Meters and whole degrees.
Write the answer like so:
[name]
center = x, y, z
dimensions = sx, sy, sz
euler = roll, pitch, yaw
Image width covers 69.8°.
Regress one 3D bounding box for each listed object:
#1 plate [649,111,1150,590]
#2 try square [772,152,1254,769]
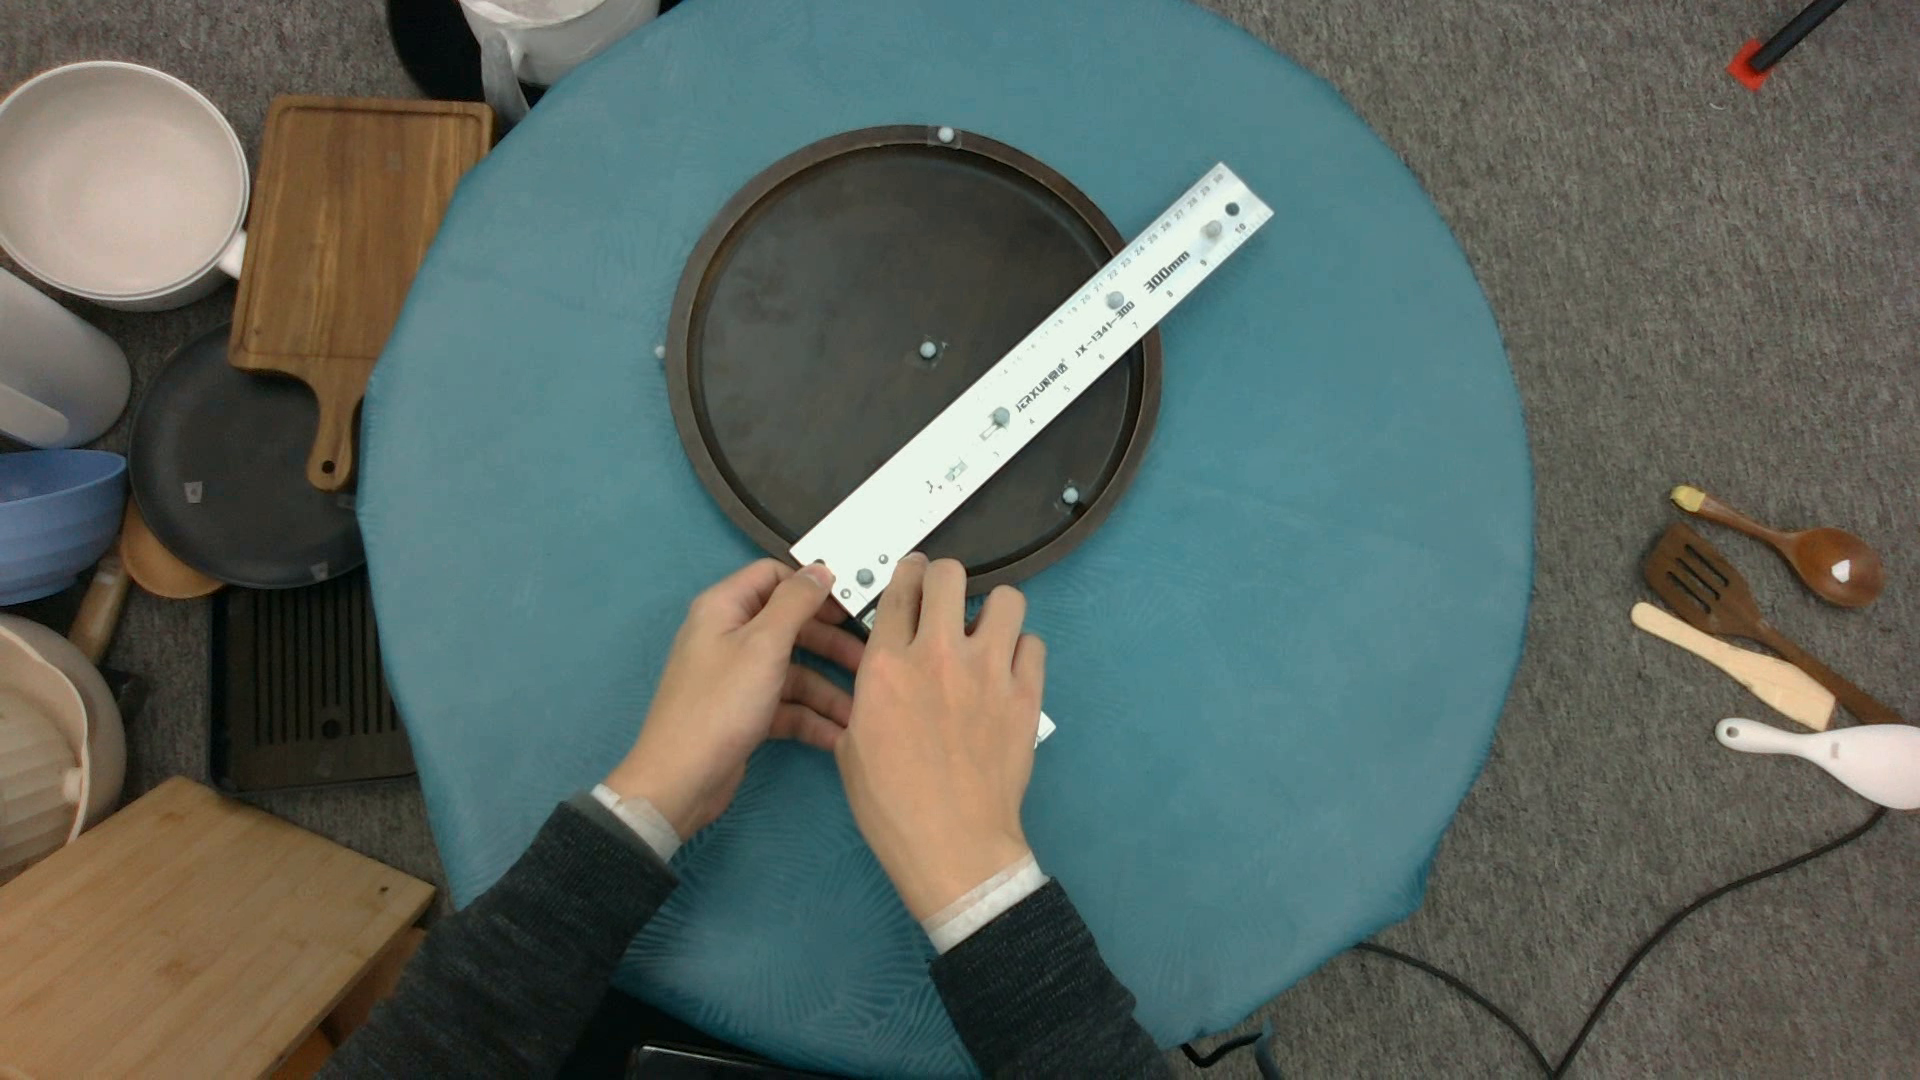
[plate]
center = -0.029, -0.098, 0.703
dimensions = 0.255, 0.029, 0.255
euler = 1, 78, -6
[try square]
center = 0.070, -0.049, 0.690
dimensions = 0.313, 0.016, 0.152
euler = -43, 85, -13
